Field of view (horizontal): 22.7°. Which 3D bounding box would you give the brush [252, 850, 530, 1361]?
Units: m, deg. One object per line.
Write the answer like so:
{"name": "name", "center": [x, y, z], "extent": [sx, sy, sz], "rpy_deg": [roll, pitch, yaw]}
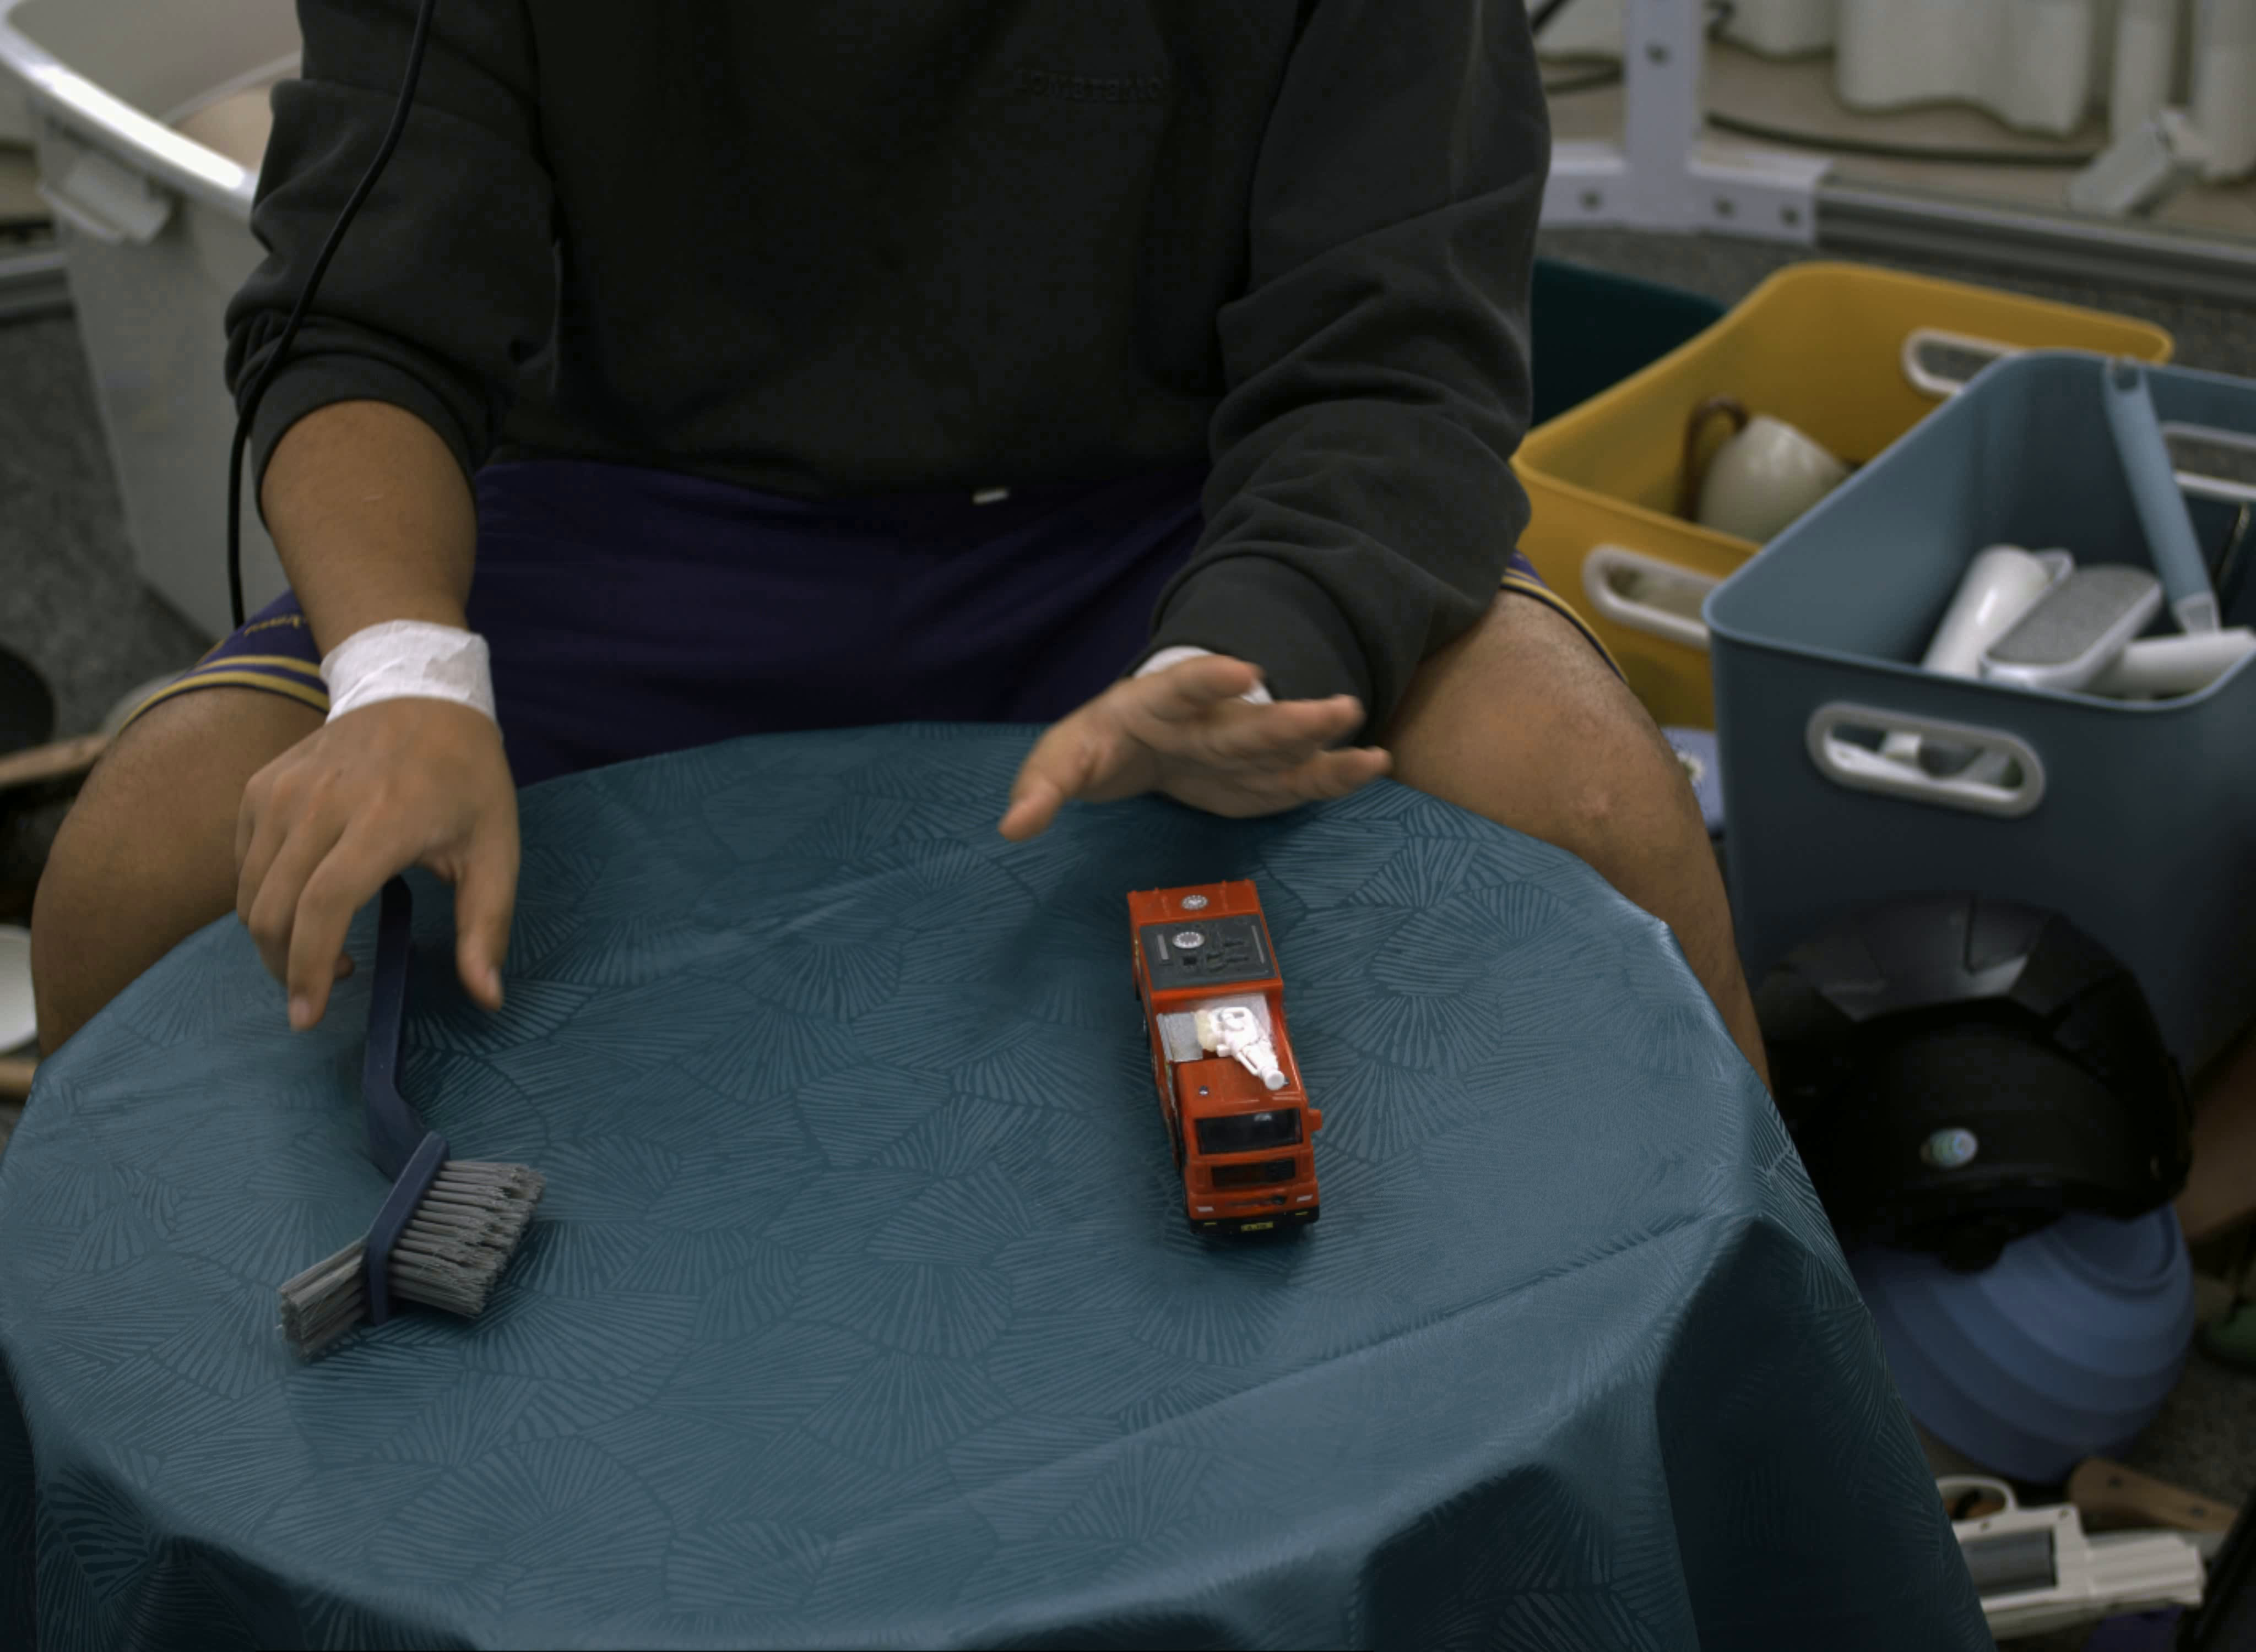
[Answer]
{"name": "brush", "center": [-0.260, 0.091, 1.912], "extent": [0.095, 0.033, 0.276], "rpy_deg": [-8, 29, -10]}

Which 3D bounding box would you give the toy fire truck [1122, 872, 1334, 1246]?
{"name": "toy fire truck", "center": [0.032, 0.076, 1.883], "extent": [0.054, 0.069, 0.170], "rpy_deg": [-6, 27, -5]}
